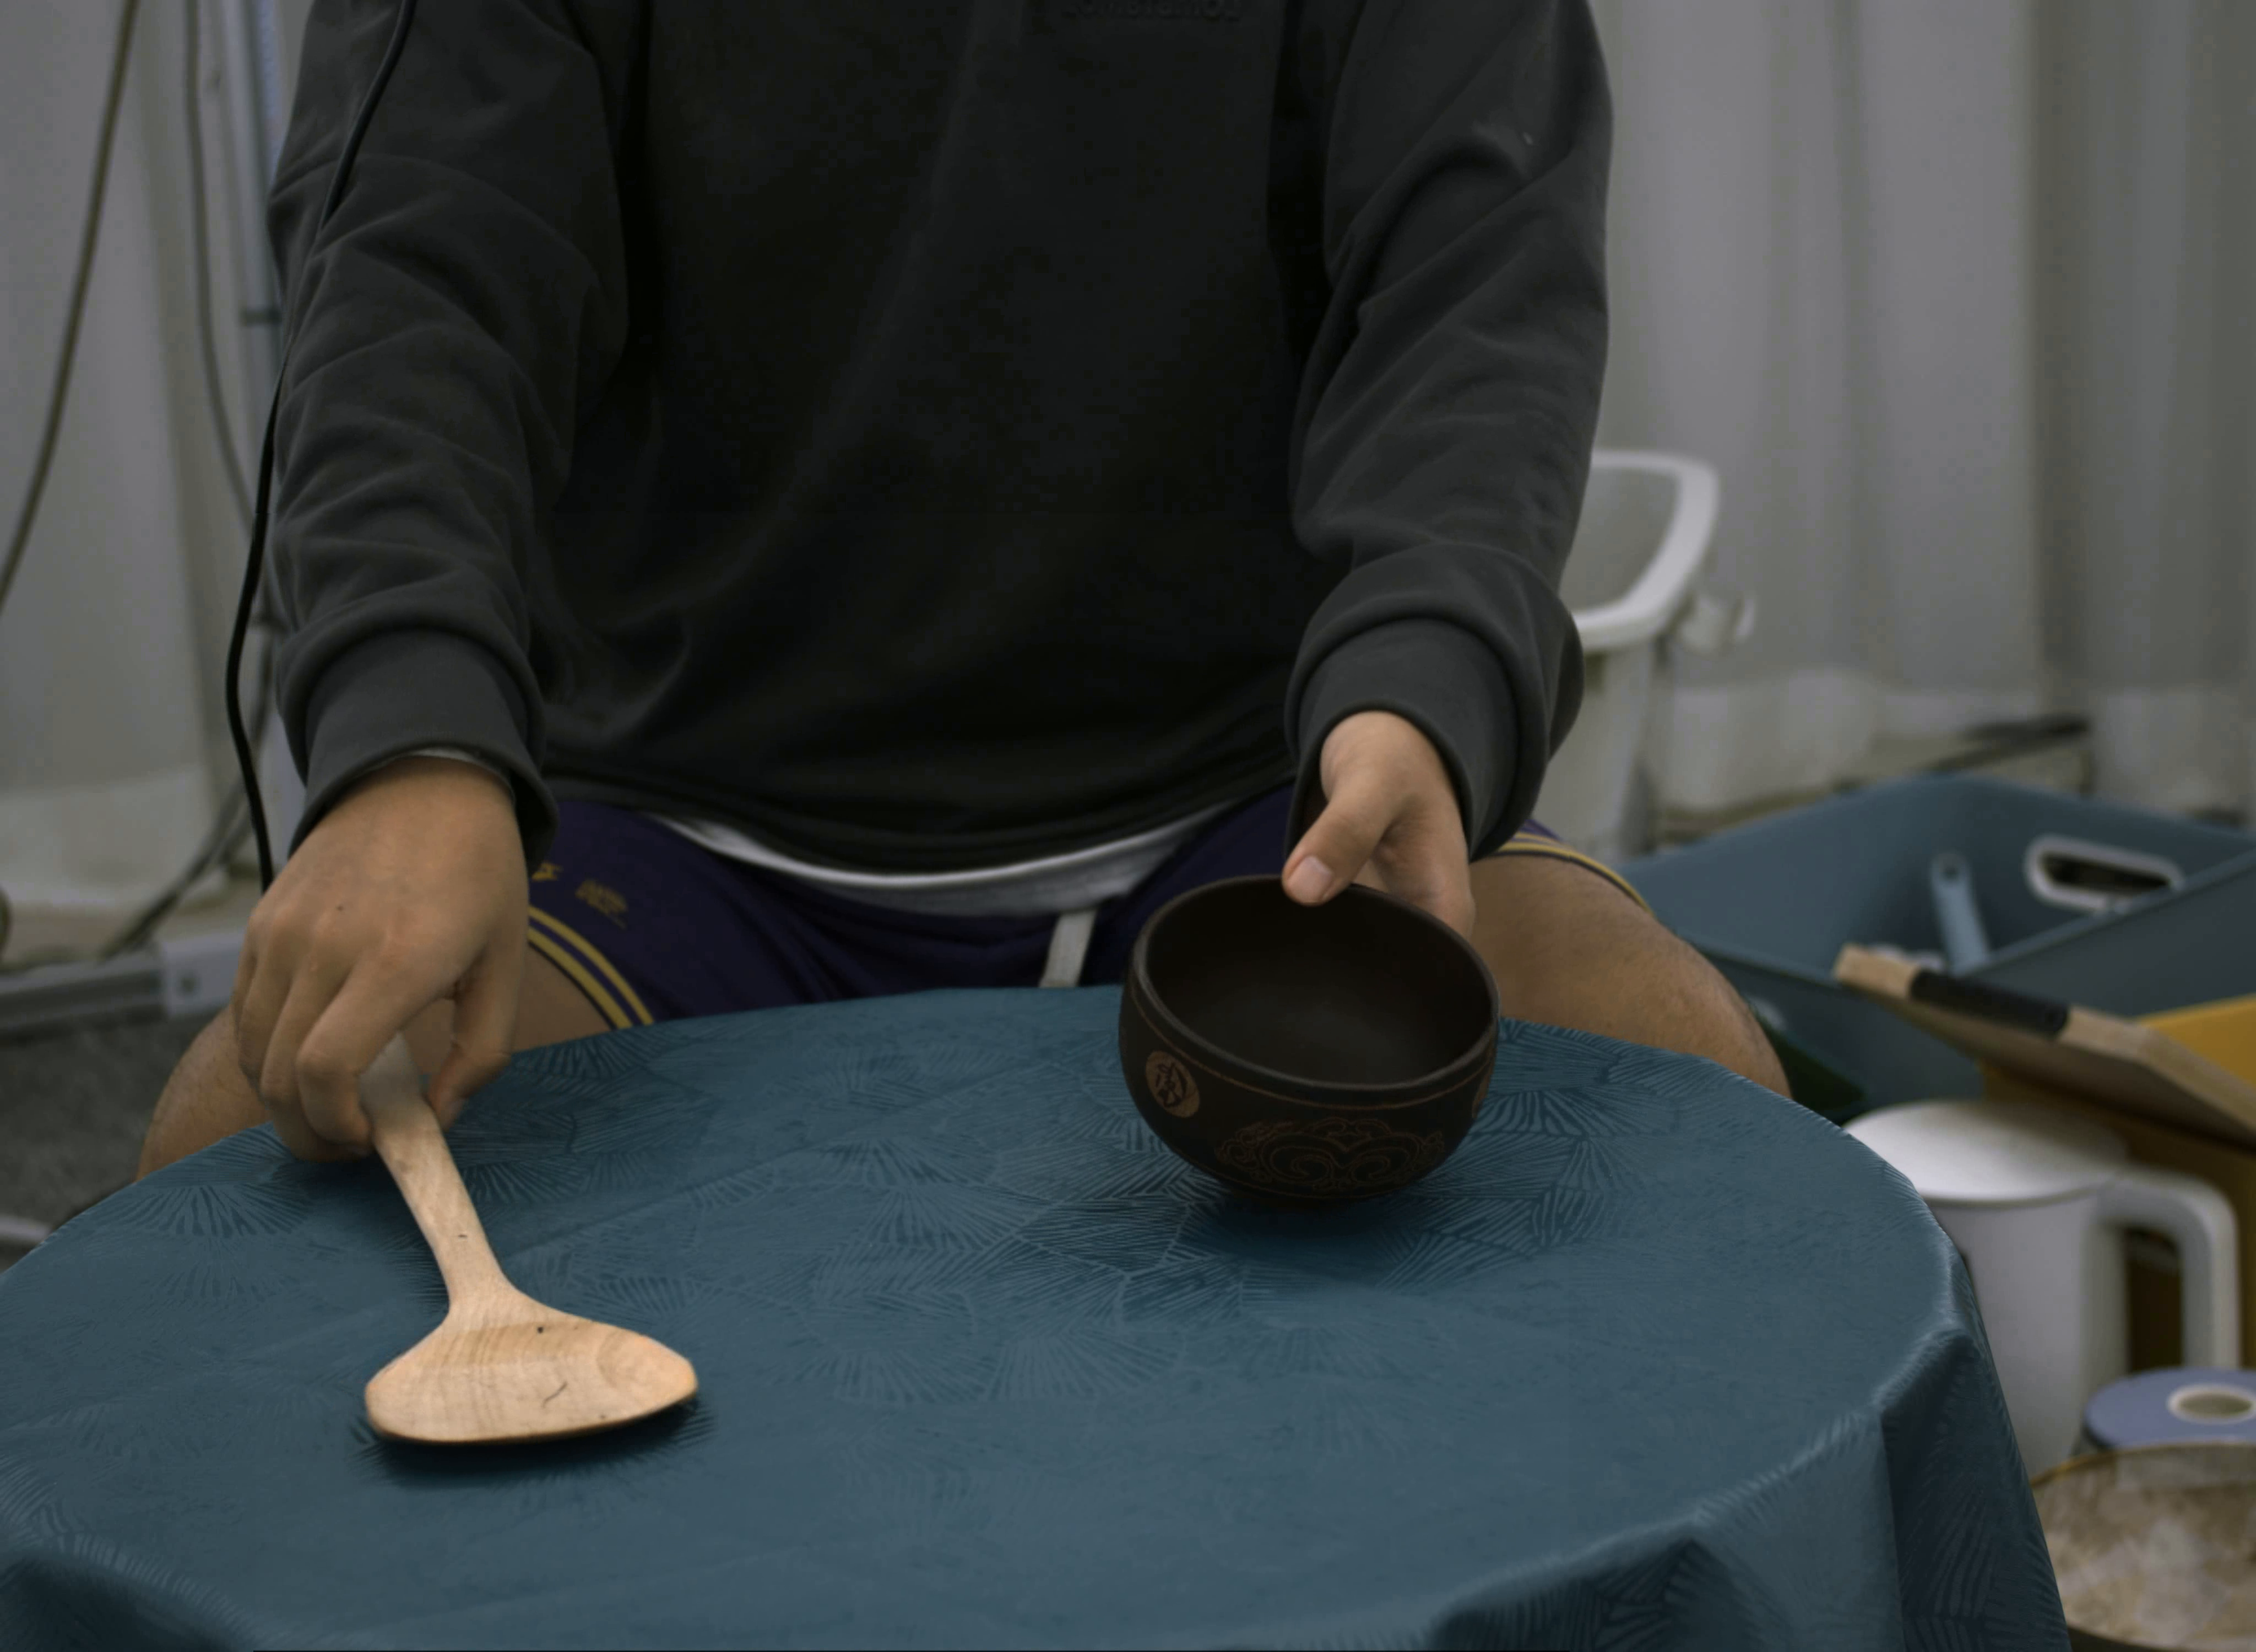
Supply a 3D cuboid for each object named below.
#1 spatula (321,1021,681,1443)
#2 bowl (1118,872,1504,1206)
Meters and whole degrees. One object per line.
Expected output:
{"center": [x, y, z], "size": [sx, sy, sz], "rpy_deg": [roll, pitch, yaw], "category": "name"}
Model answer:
{"center": [-0.216, 0.120, 1.689], "size": [0.095, 0.018, 0.394], "rpy_deg": [-5, 17, -15], "category": "spatula"}
{"center": [0.054, 0.074, 1.694], "size": [0.117, 0.069, 0.119], "rpy_deg": [8, 31, -5], "category": "bowl"}
